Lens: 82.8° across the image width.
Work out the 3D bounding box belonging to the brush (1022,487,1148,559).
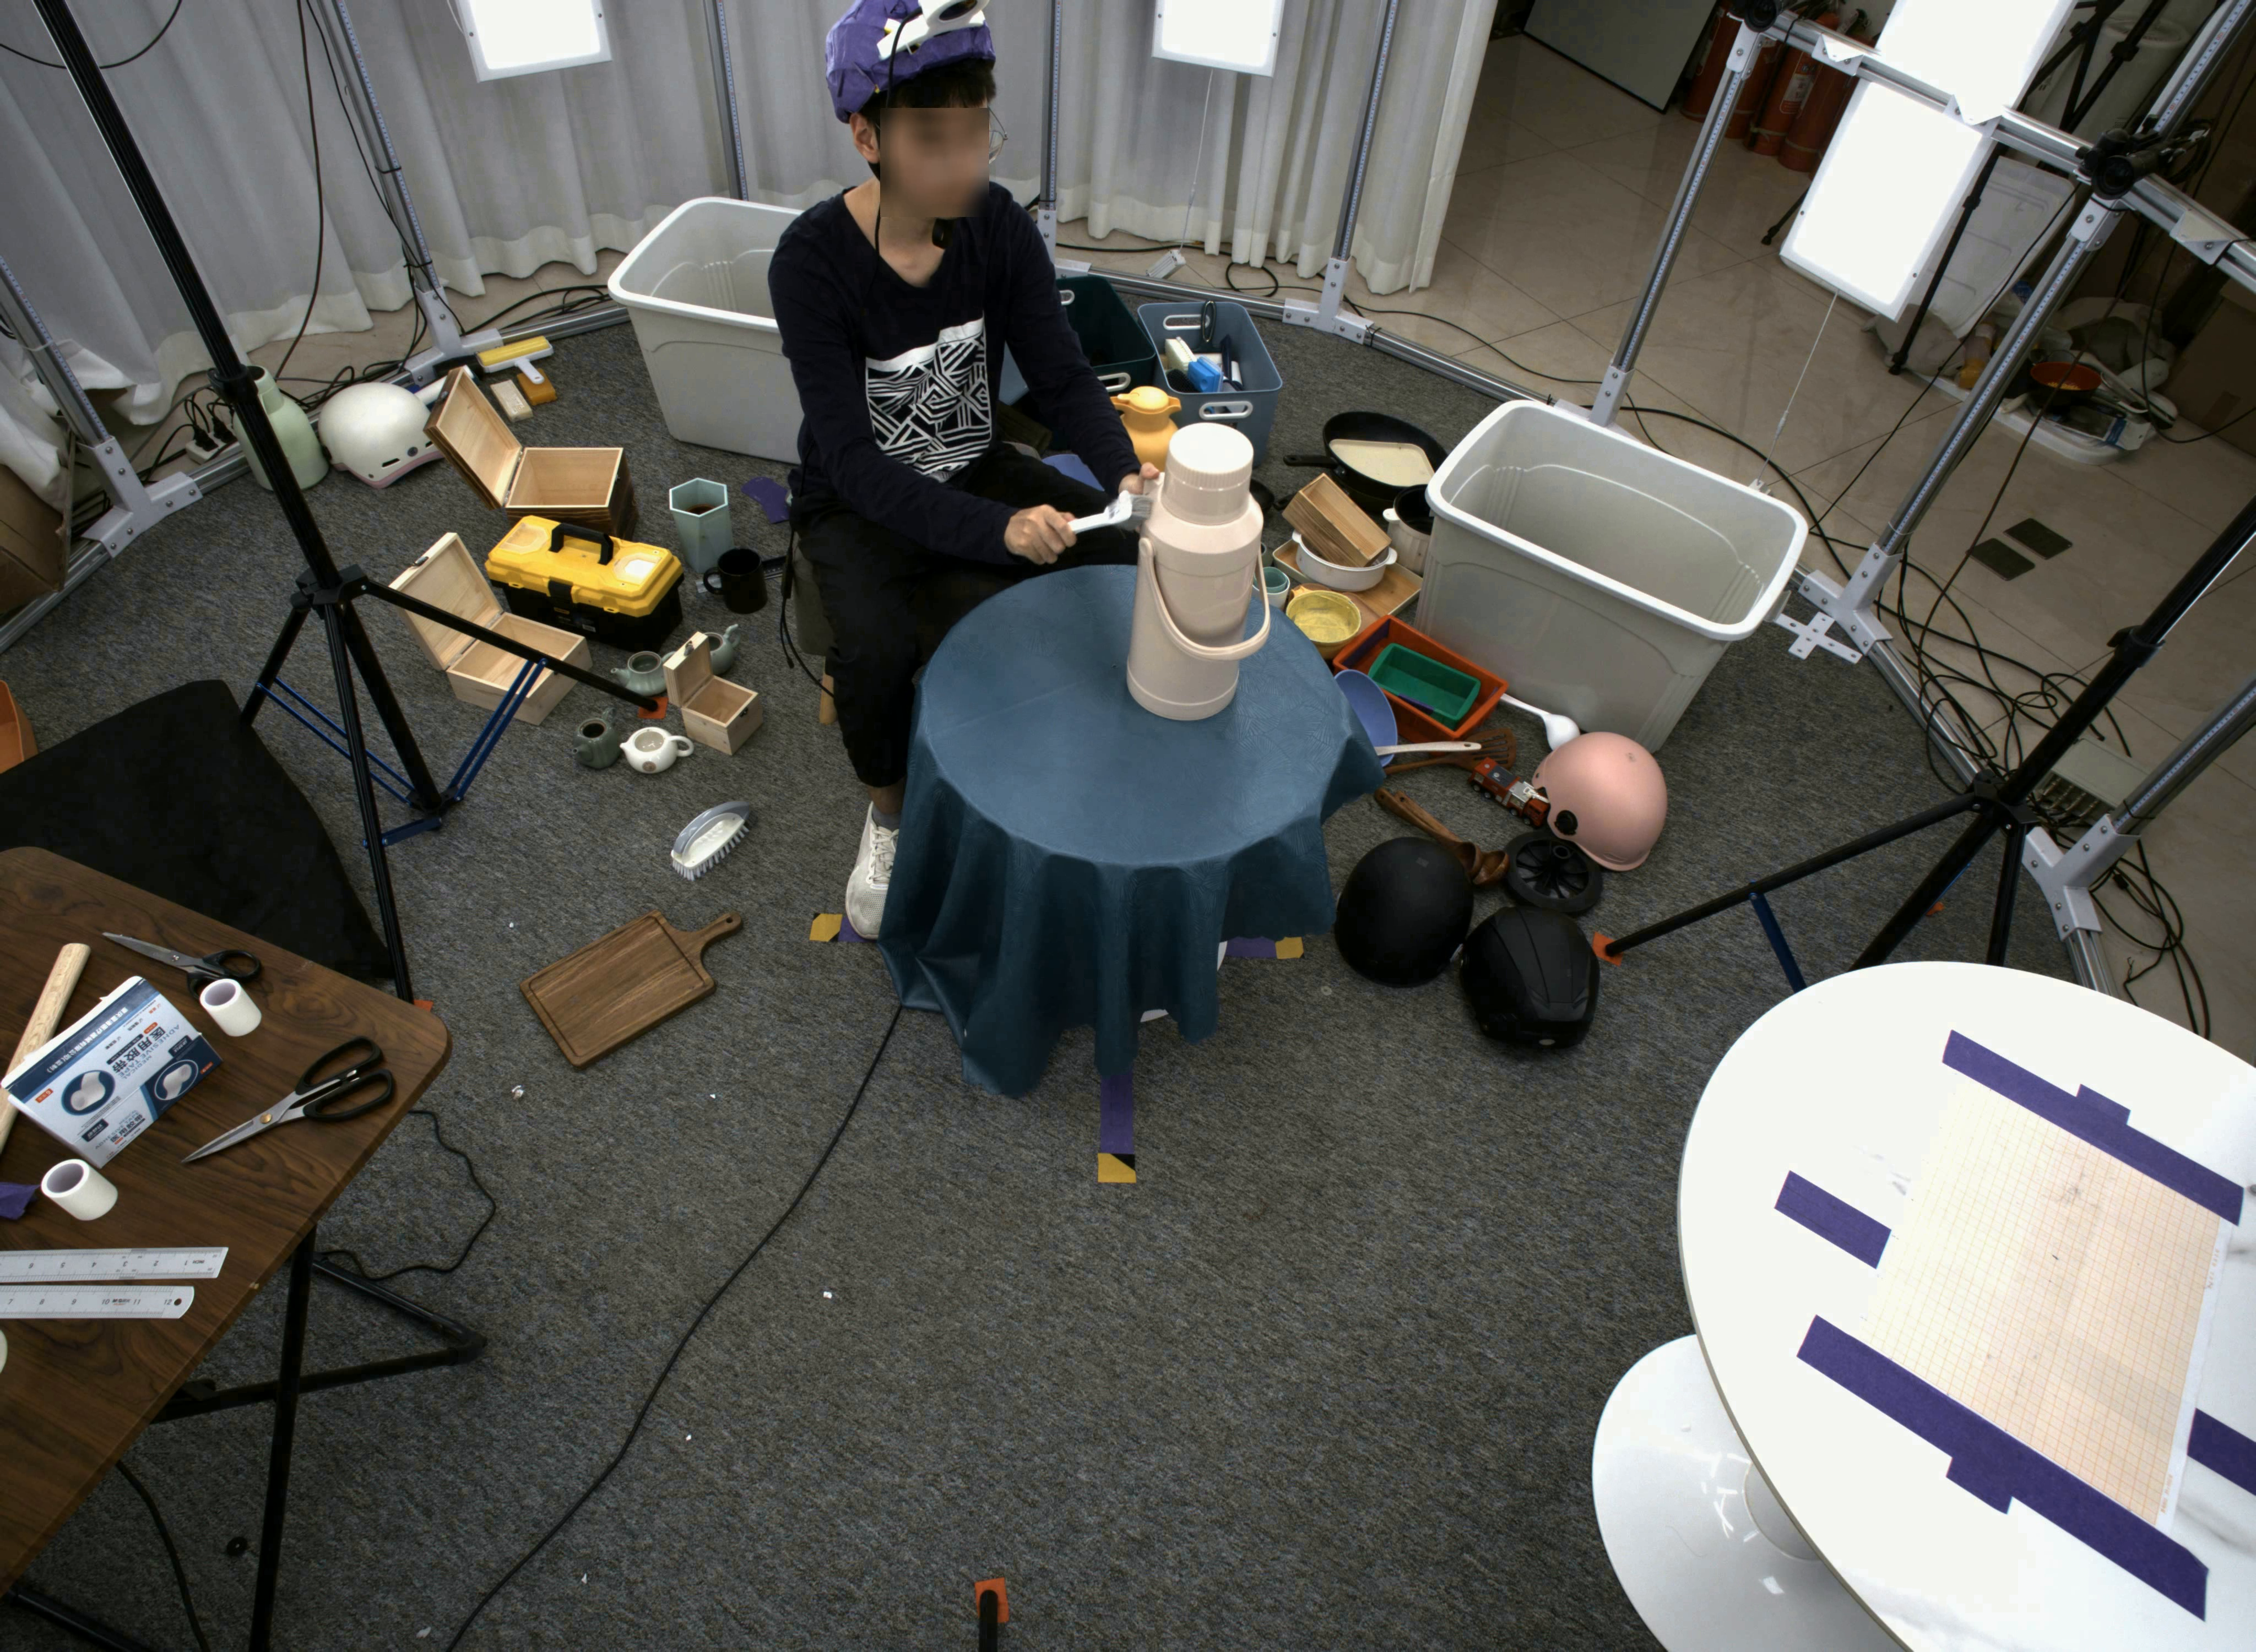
[{"bbox_3d":[-0.056,-0.391,1.695,0.050,0.243,0.034,5,79,-38],"label":"brush"}]

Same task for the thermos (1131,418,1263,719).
[{"bbox_3d":[0.084,-0.346,1.718,0.176,0.396,0.211,-25,55,-22],"label":"thermos"}]
